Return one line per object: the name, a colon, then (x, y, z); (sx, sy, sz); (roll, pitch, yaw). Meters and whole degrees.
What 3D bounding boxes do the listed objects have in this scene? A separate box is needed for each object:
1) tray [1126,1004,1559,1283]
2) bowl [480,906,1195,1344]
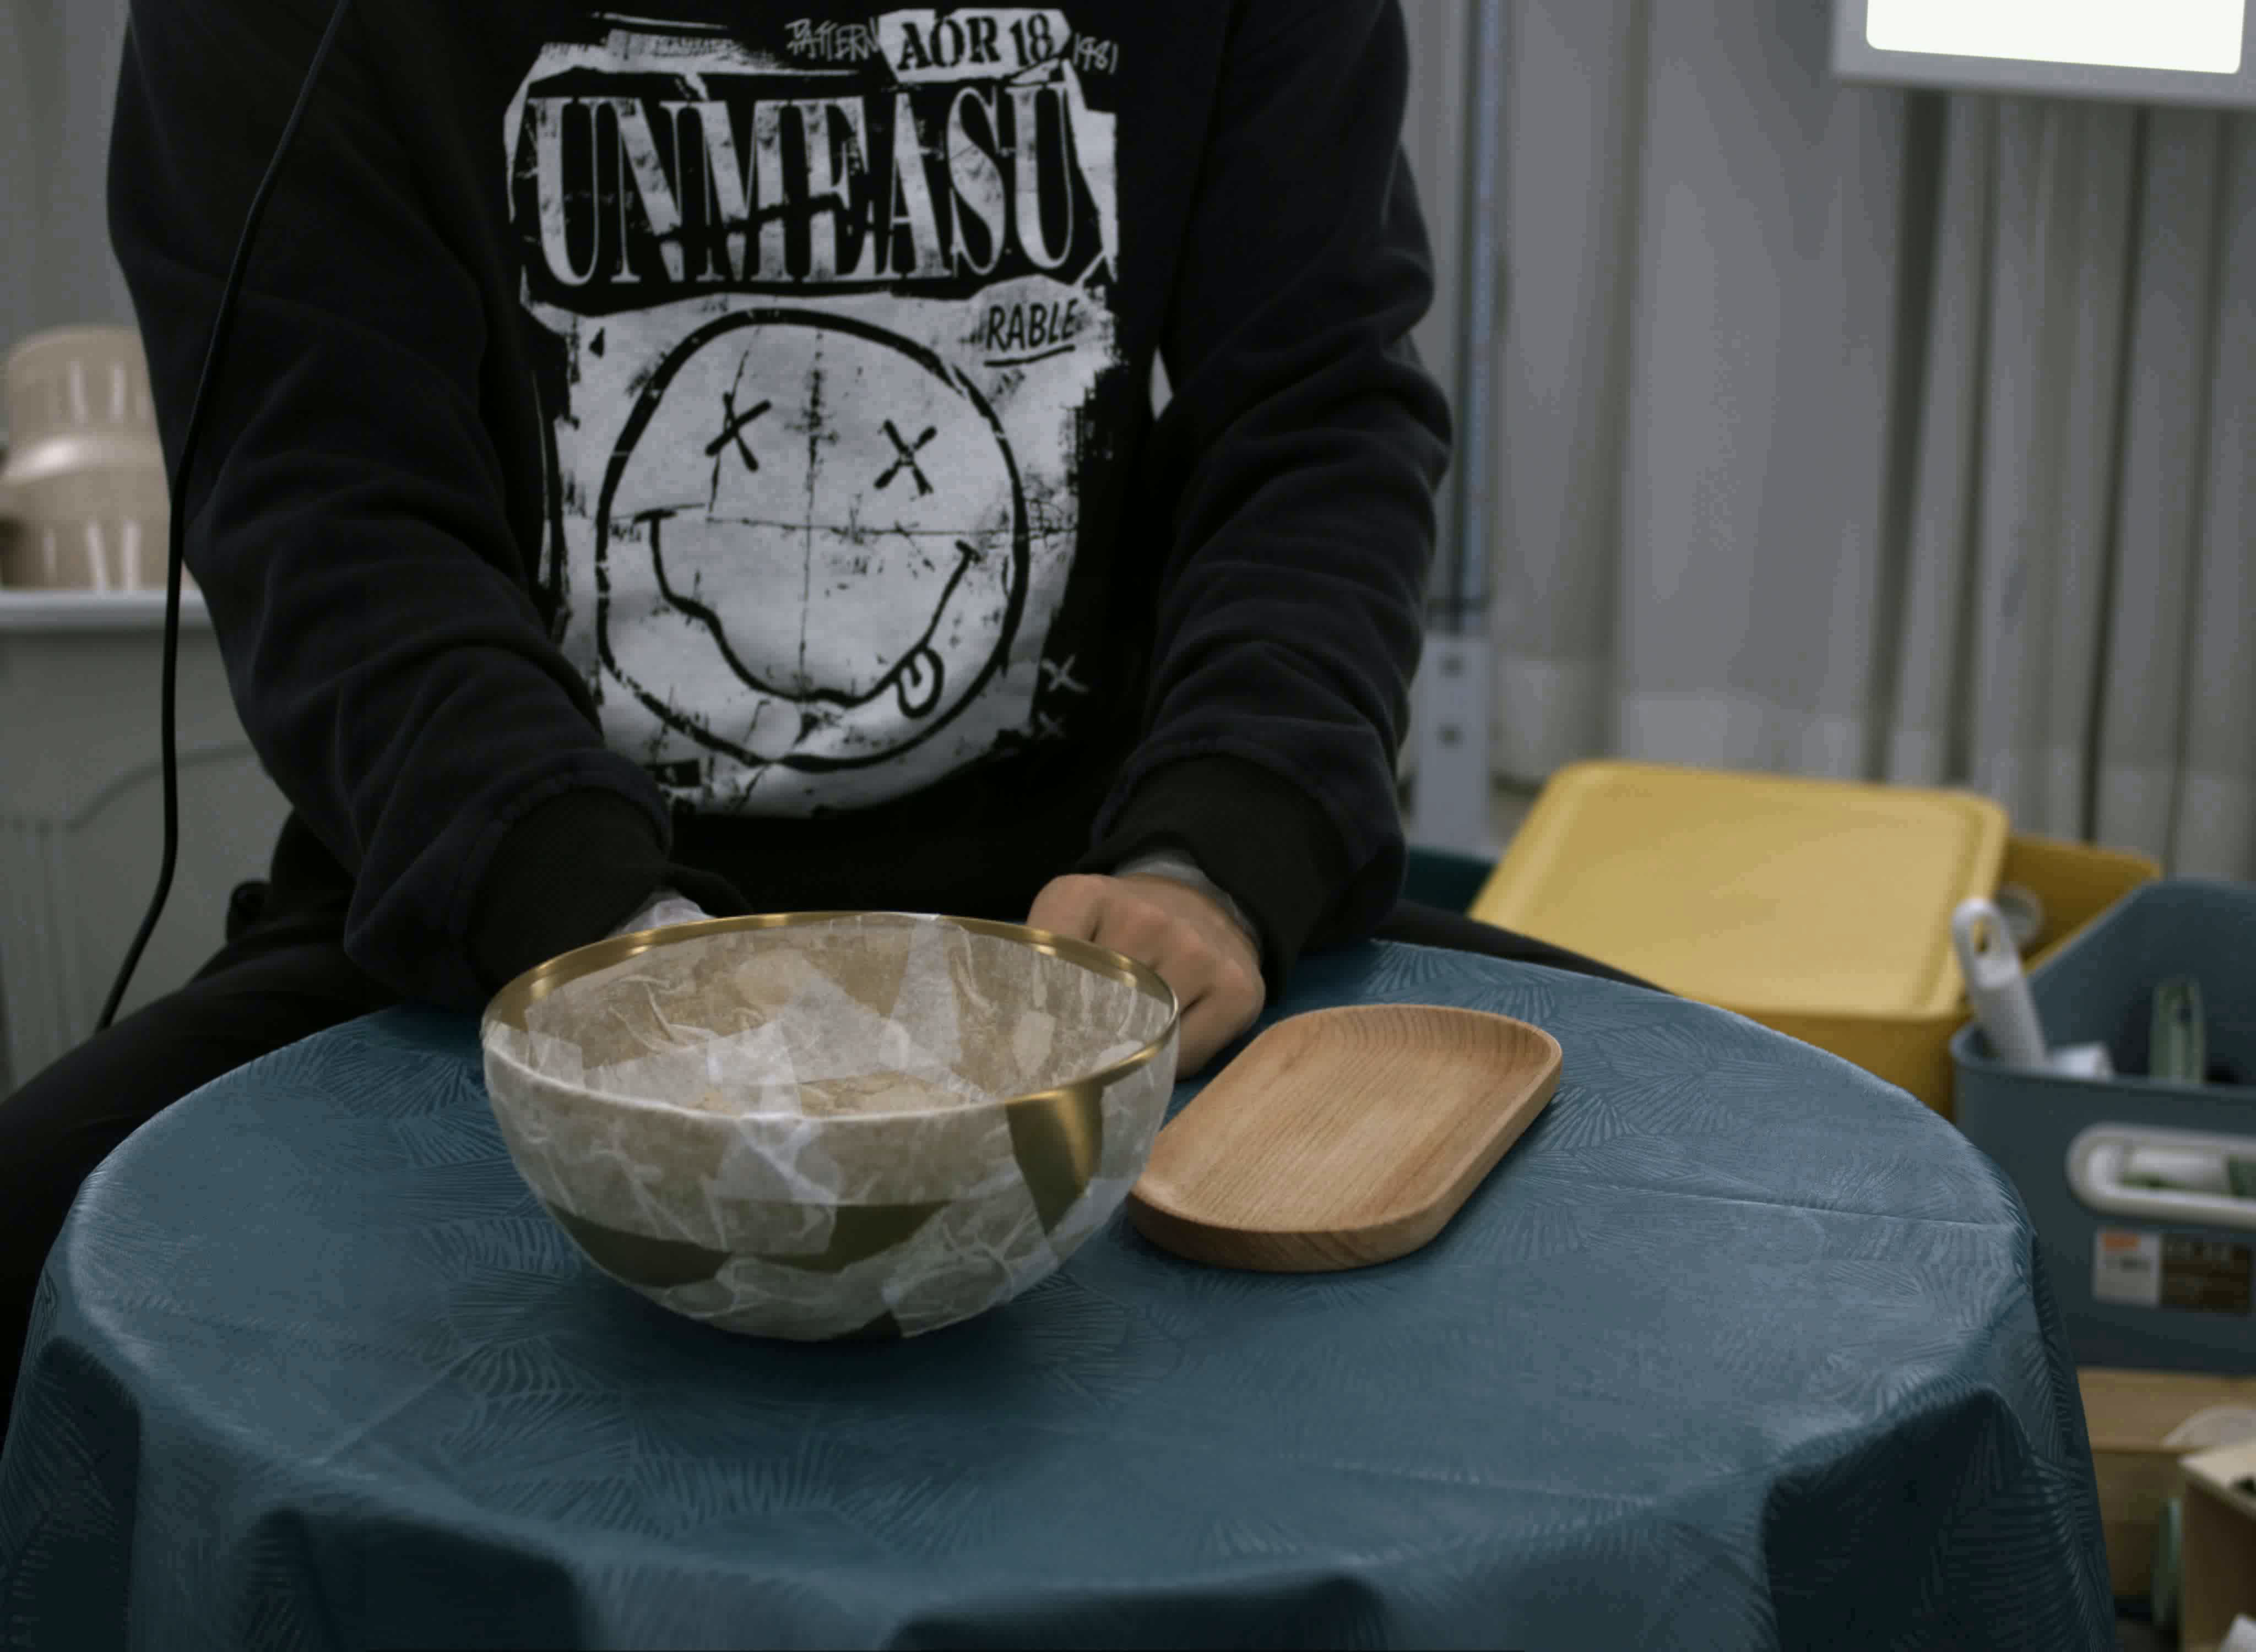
tray: (0.070, 0.098, 1.655); (0.101, 0.020, 0.231); (3, 18, 17)
bowl: (-0.081, 0.094, 1.519); (0.214, 0.095, 0.213); (0, 15, 1)
